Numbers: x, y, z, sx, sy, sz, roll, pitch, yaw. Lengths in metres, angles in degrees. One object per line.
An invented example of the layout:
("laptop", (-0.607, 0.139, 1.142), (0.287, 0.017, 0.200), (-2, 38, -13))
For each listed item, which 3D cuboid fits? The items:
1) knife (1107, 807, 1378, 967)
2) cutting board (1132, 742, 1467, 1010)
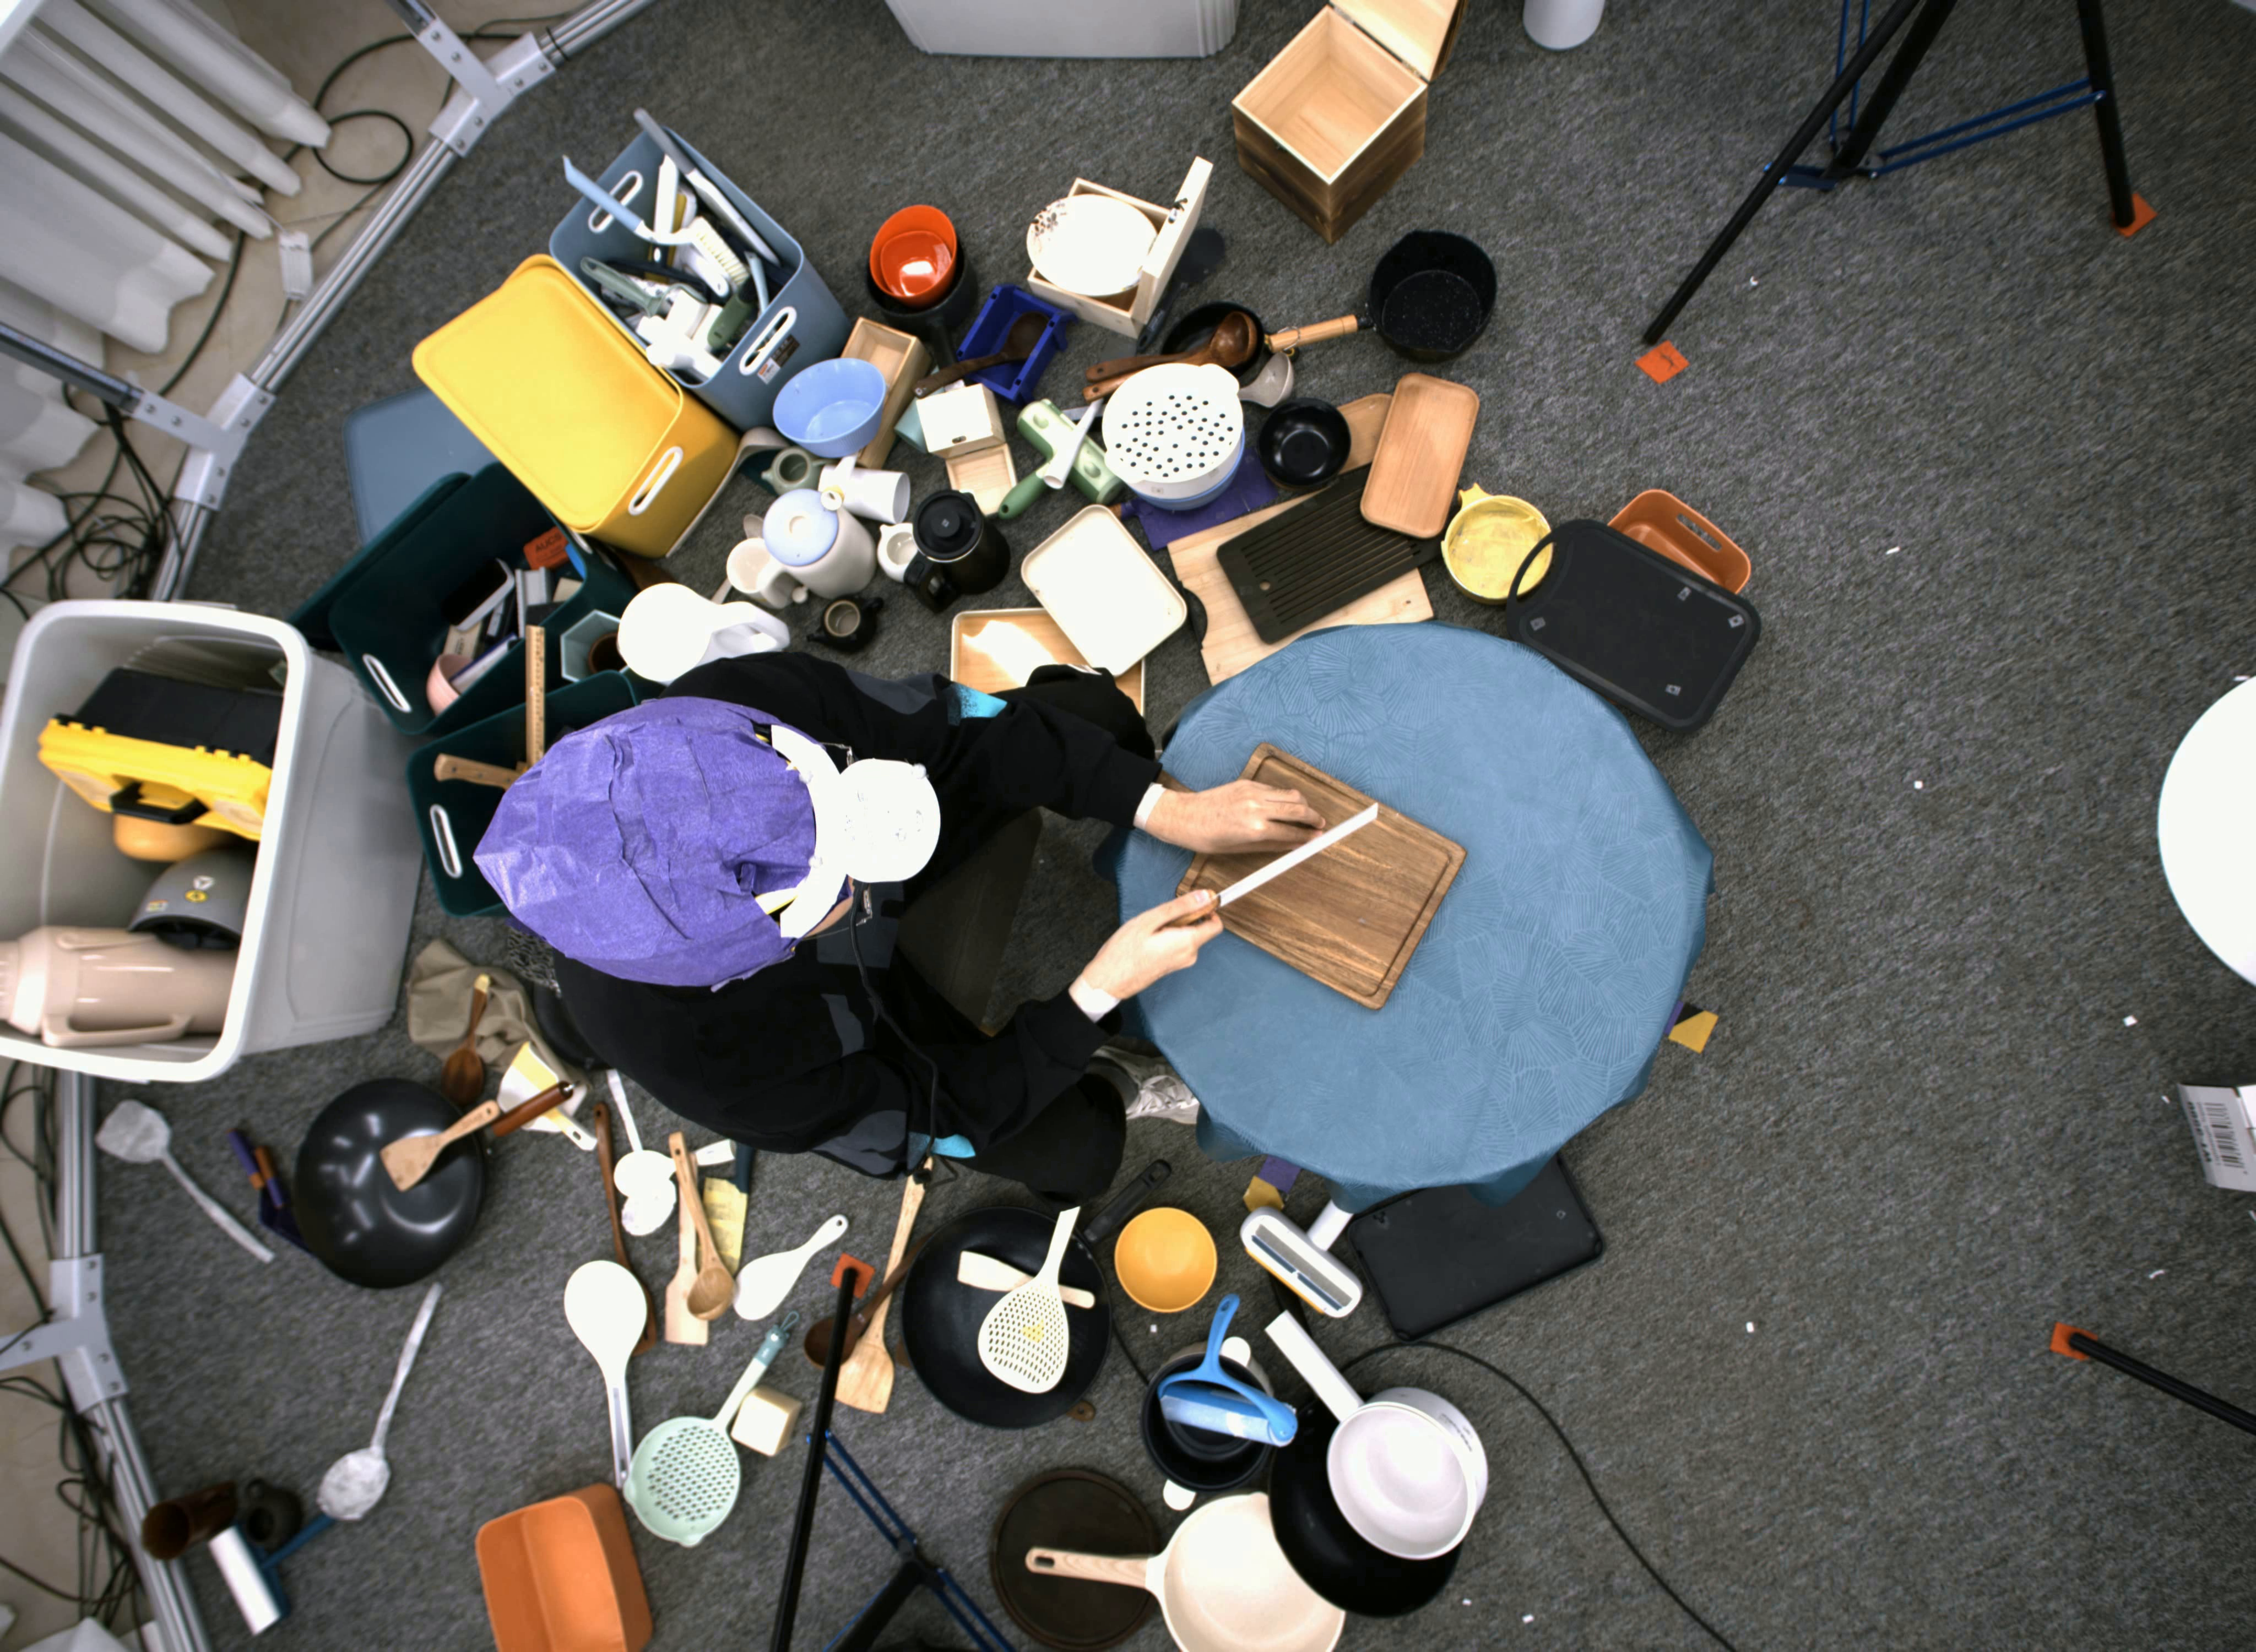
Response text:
("knife", (0.119, 0.061, 1.397), (0.307, 0.093, 0.021), (-30, 78, 6))
("cutting board", (0.161, 0.027, 1.472), (0.351, 0.023, 0.201), (29, 92, 11))
